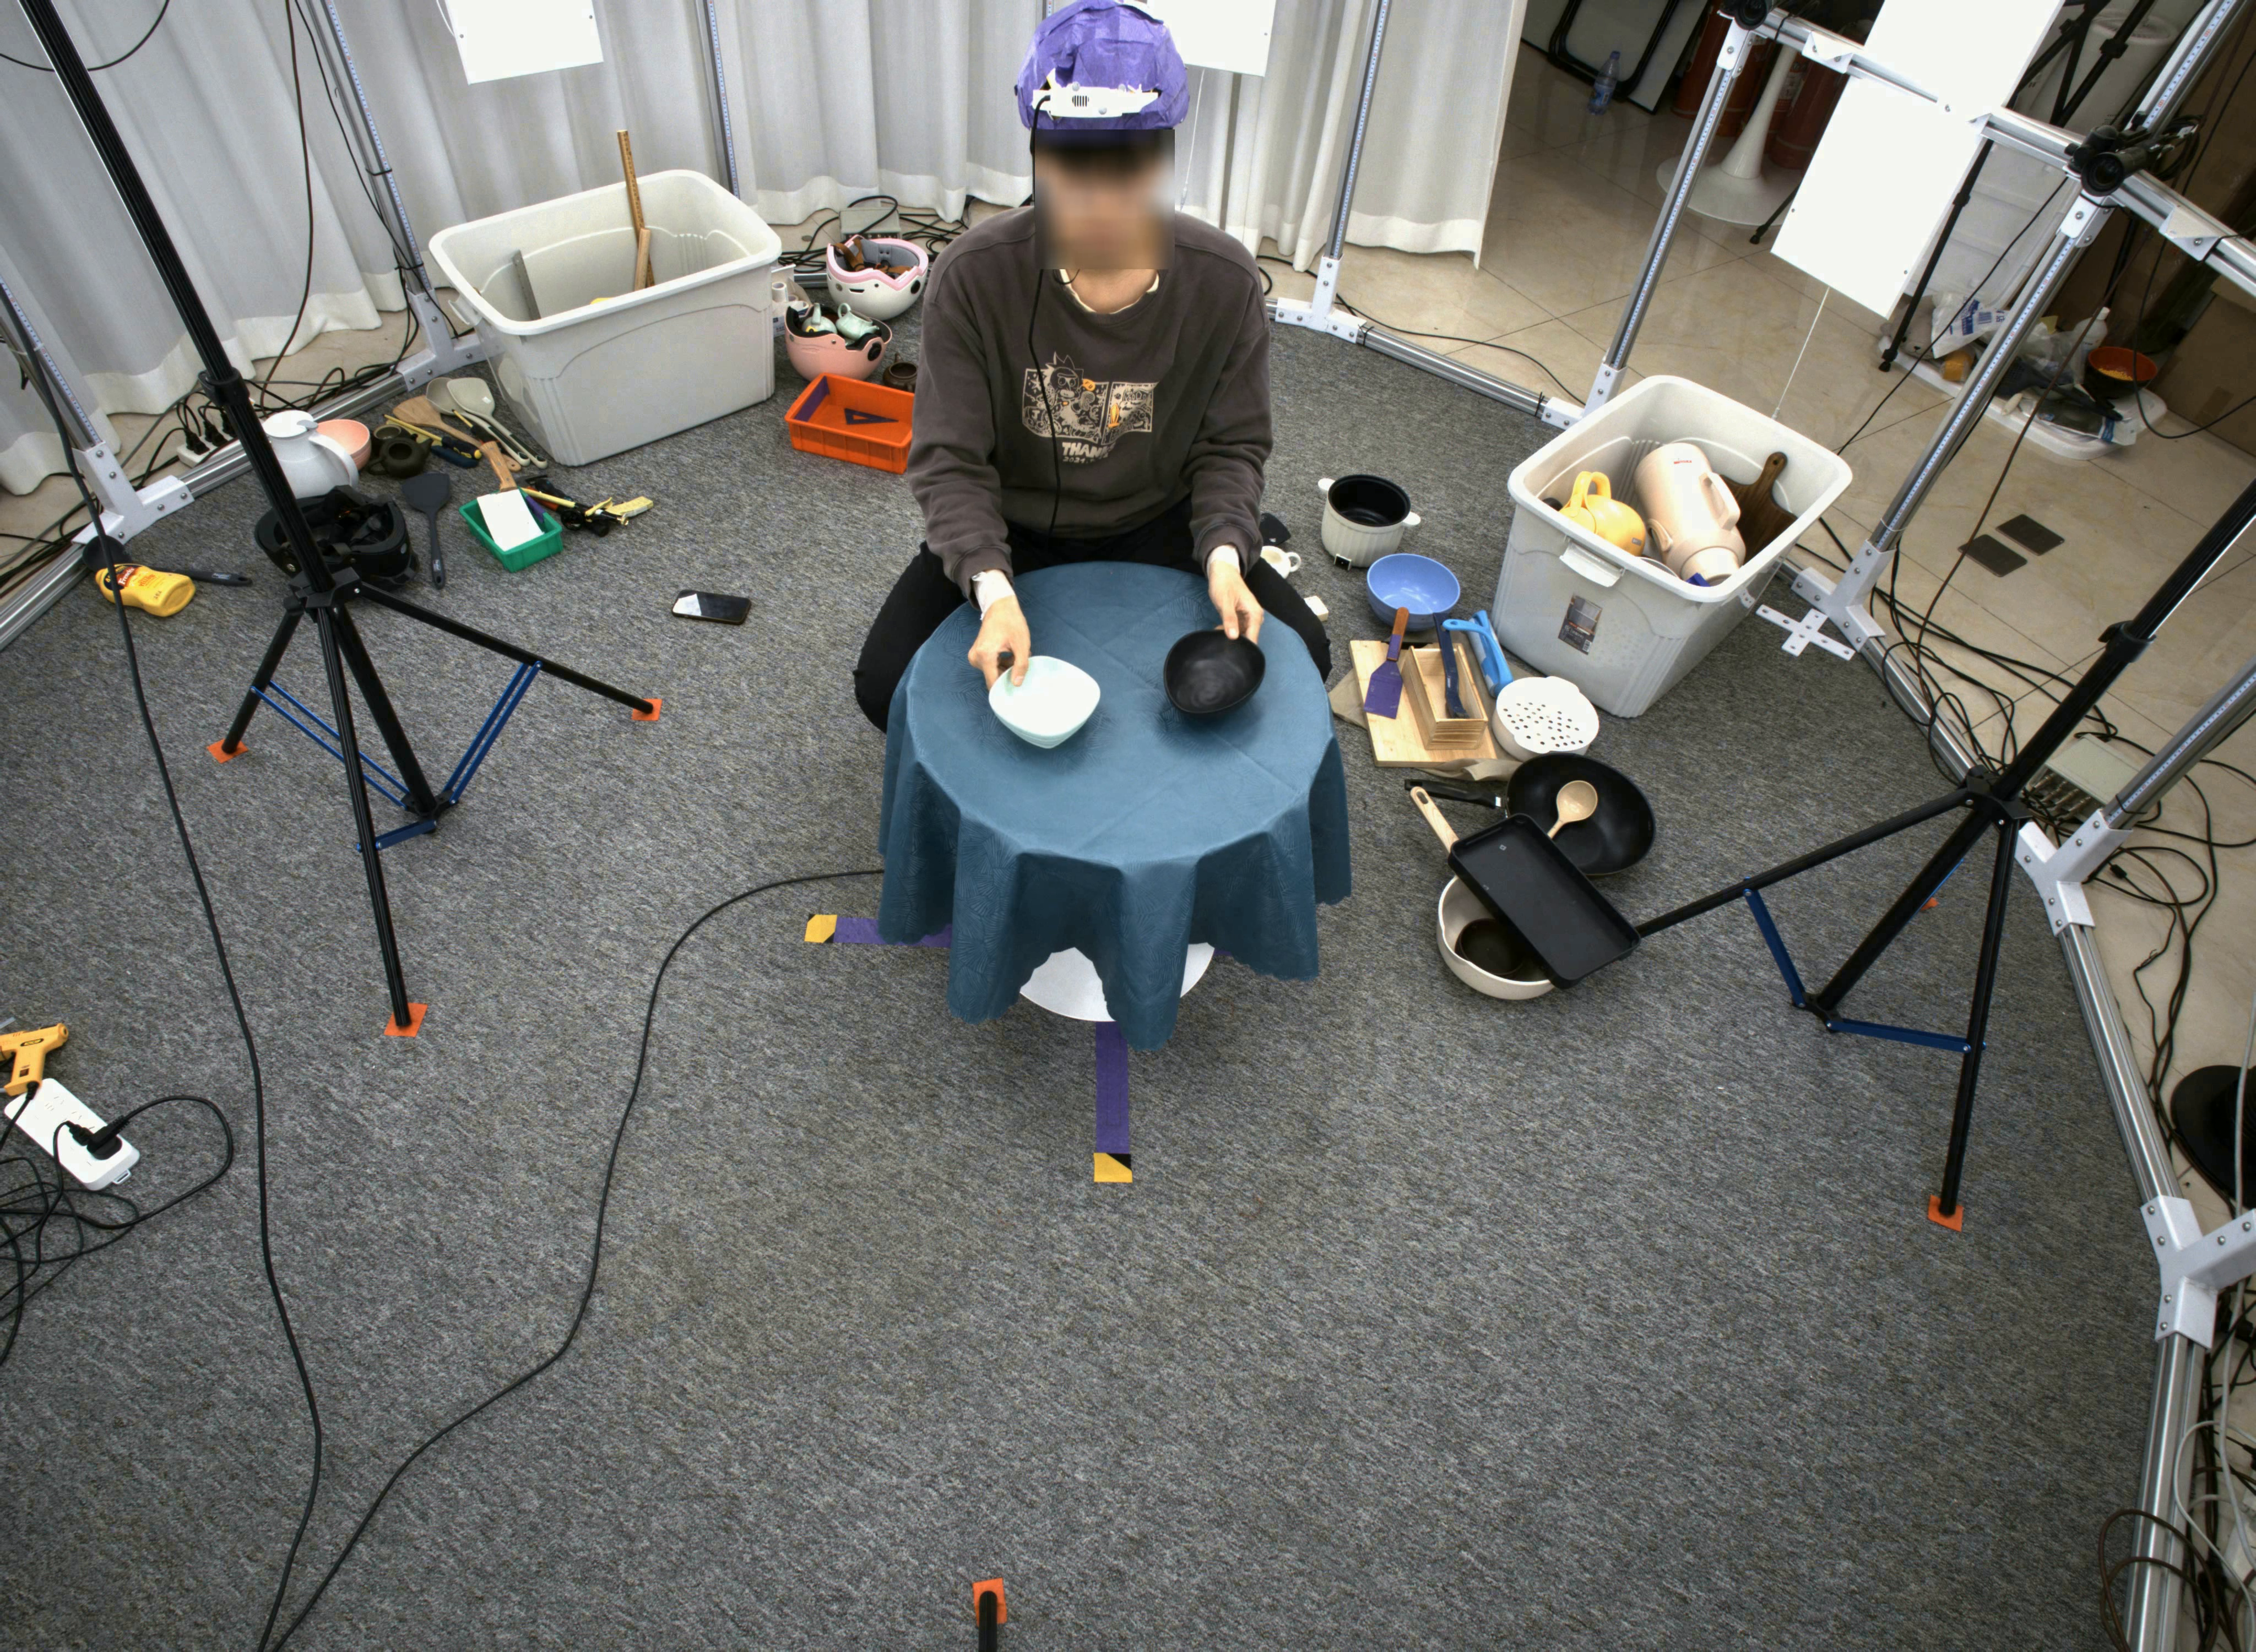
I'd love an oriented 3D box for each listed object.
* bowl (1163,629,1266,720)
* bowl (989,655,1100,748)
[{"bbox_3d":[0.119,-0.202,1.808,0.138,0.065,0.173,24,53,16],"label":"bowl"},{"bbox_3d":[-0.115,-0.162,1.762,0.151,0.057,0.155,2,50,-3],"label":"bowl"}]
